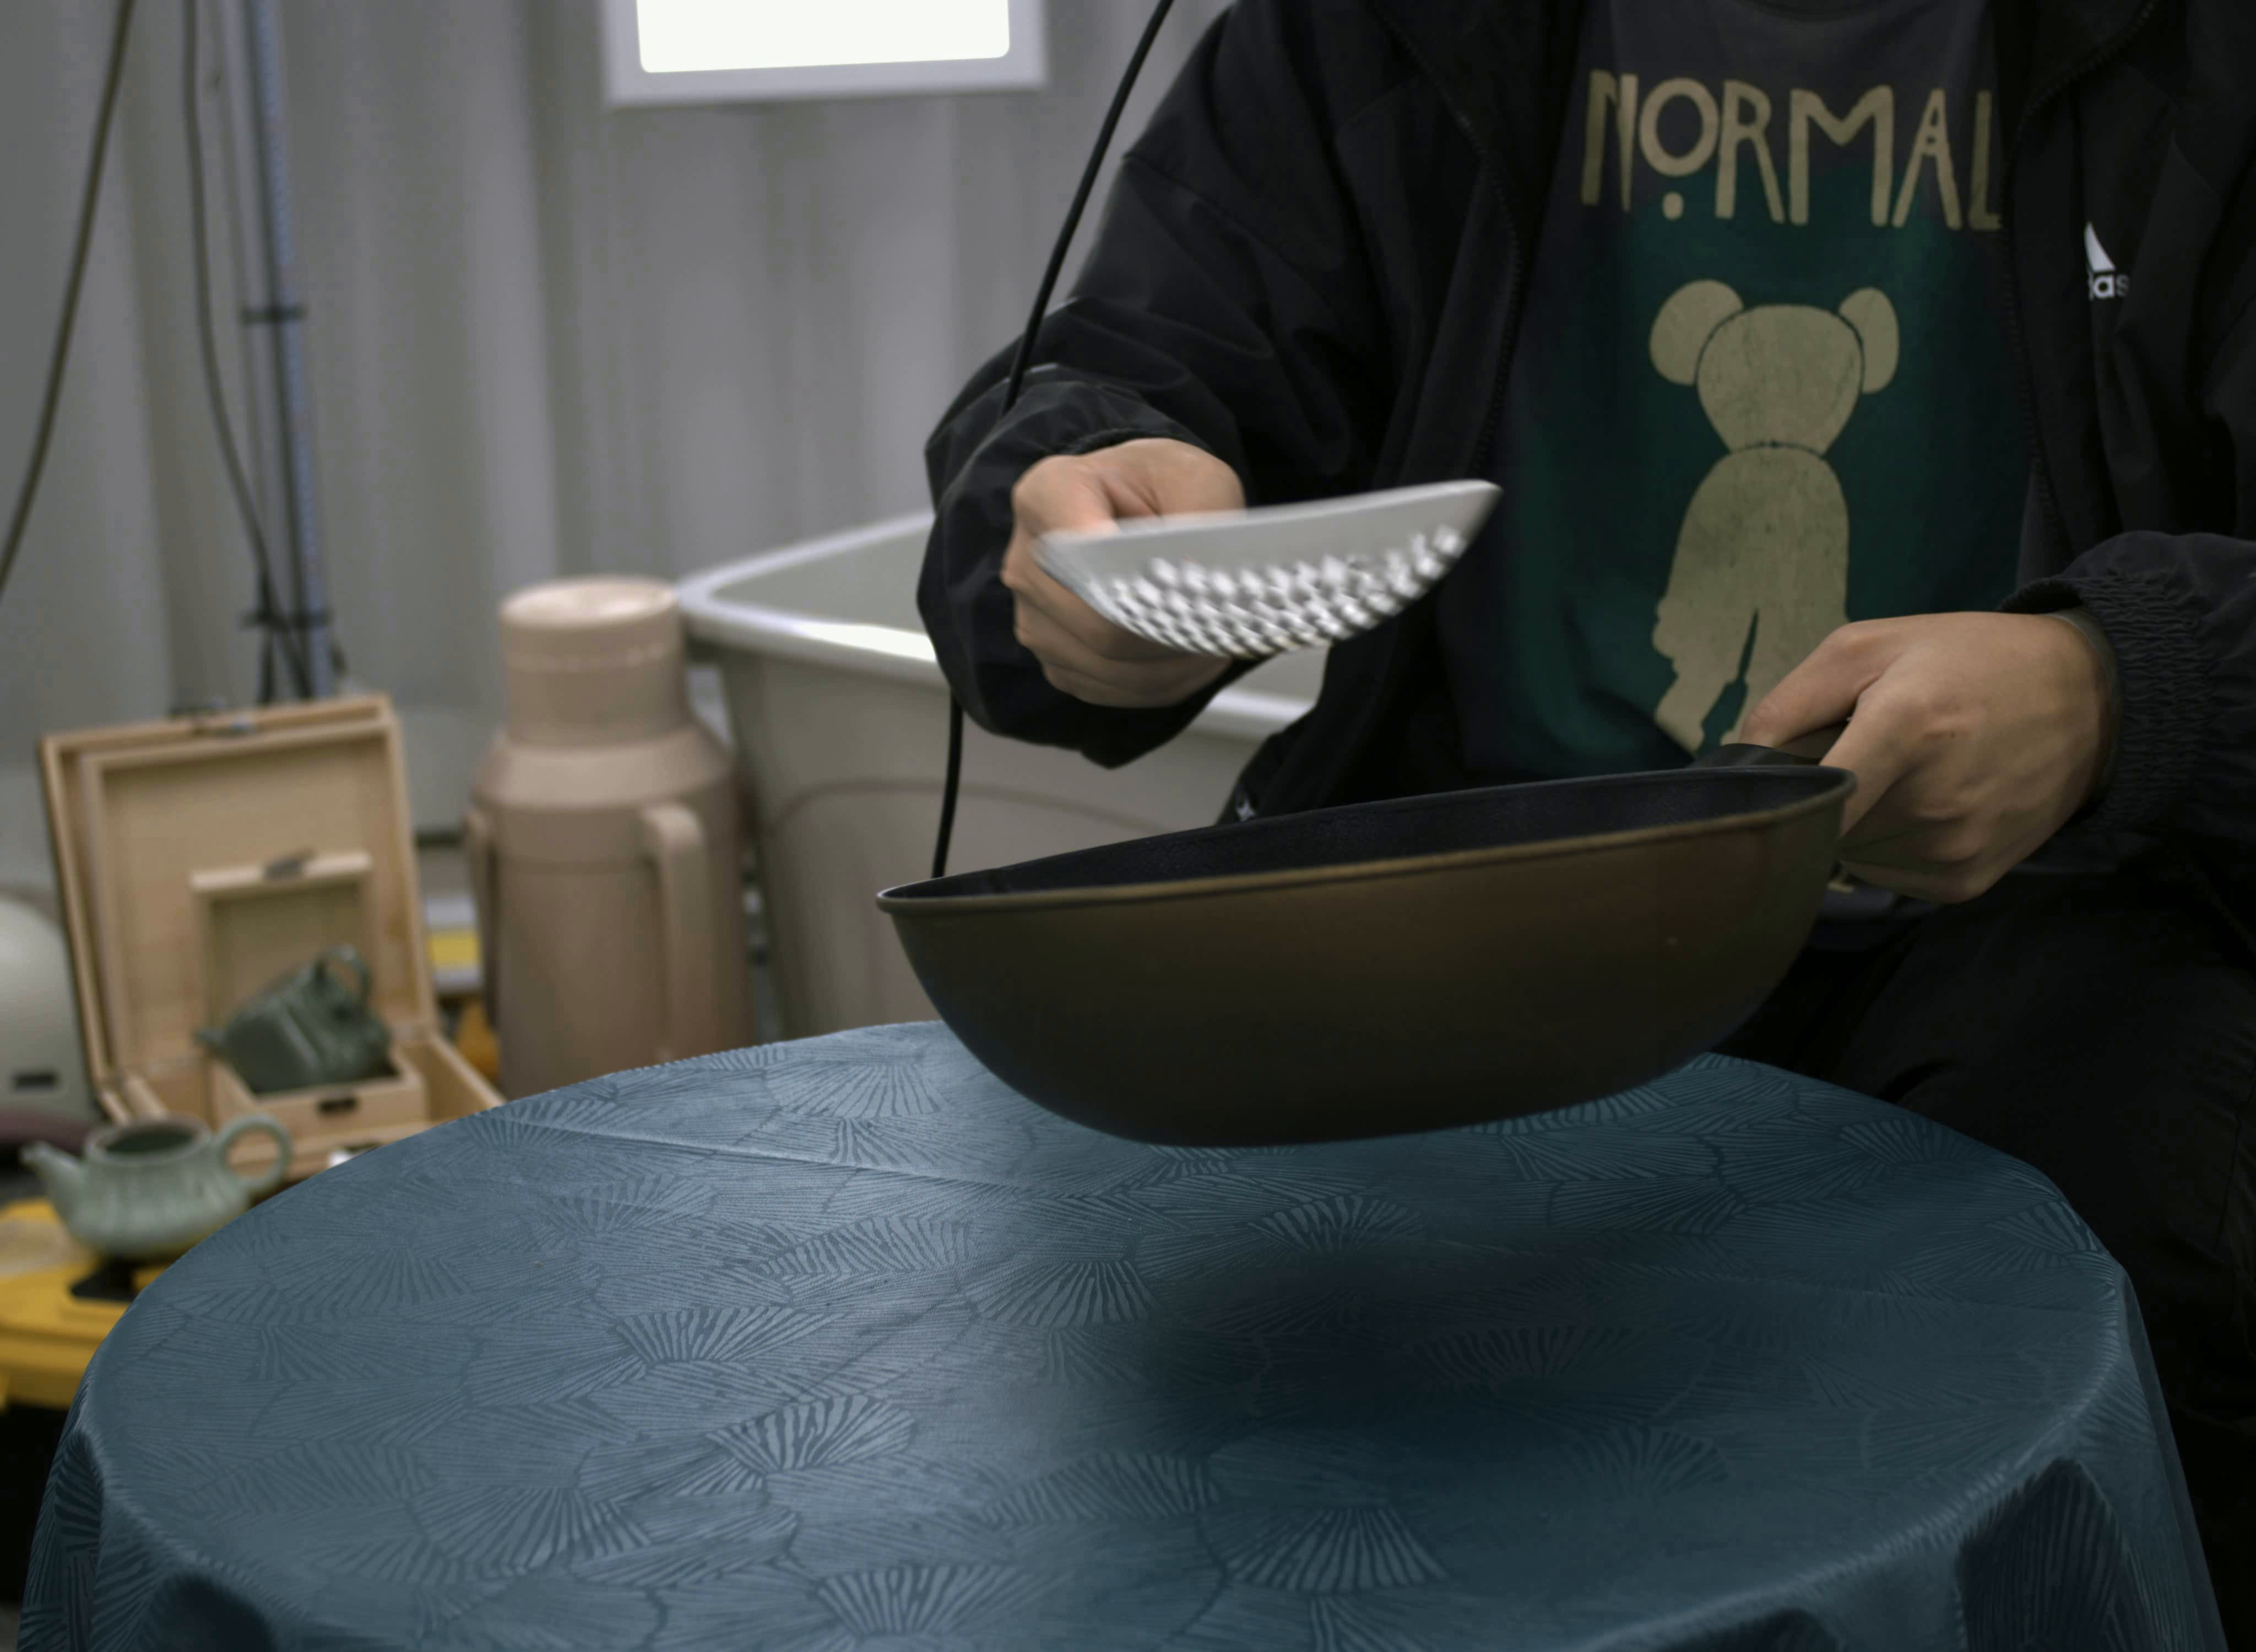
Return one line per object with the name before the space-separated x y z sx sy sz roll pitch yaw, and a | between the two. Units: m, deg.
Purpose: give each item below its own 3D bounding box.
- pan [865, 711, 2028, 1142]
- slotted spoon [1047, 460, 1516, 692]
pan | 0.129 0.028 1.621 0.288 0.087 0.461 -5 3 42
slotted spoon | 0.032 -0.070 1.681 0.136 0.050 0.348 -10 2 -7
